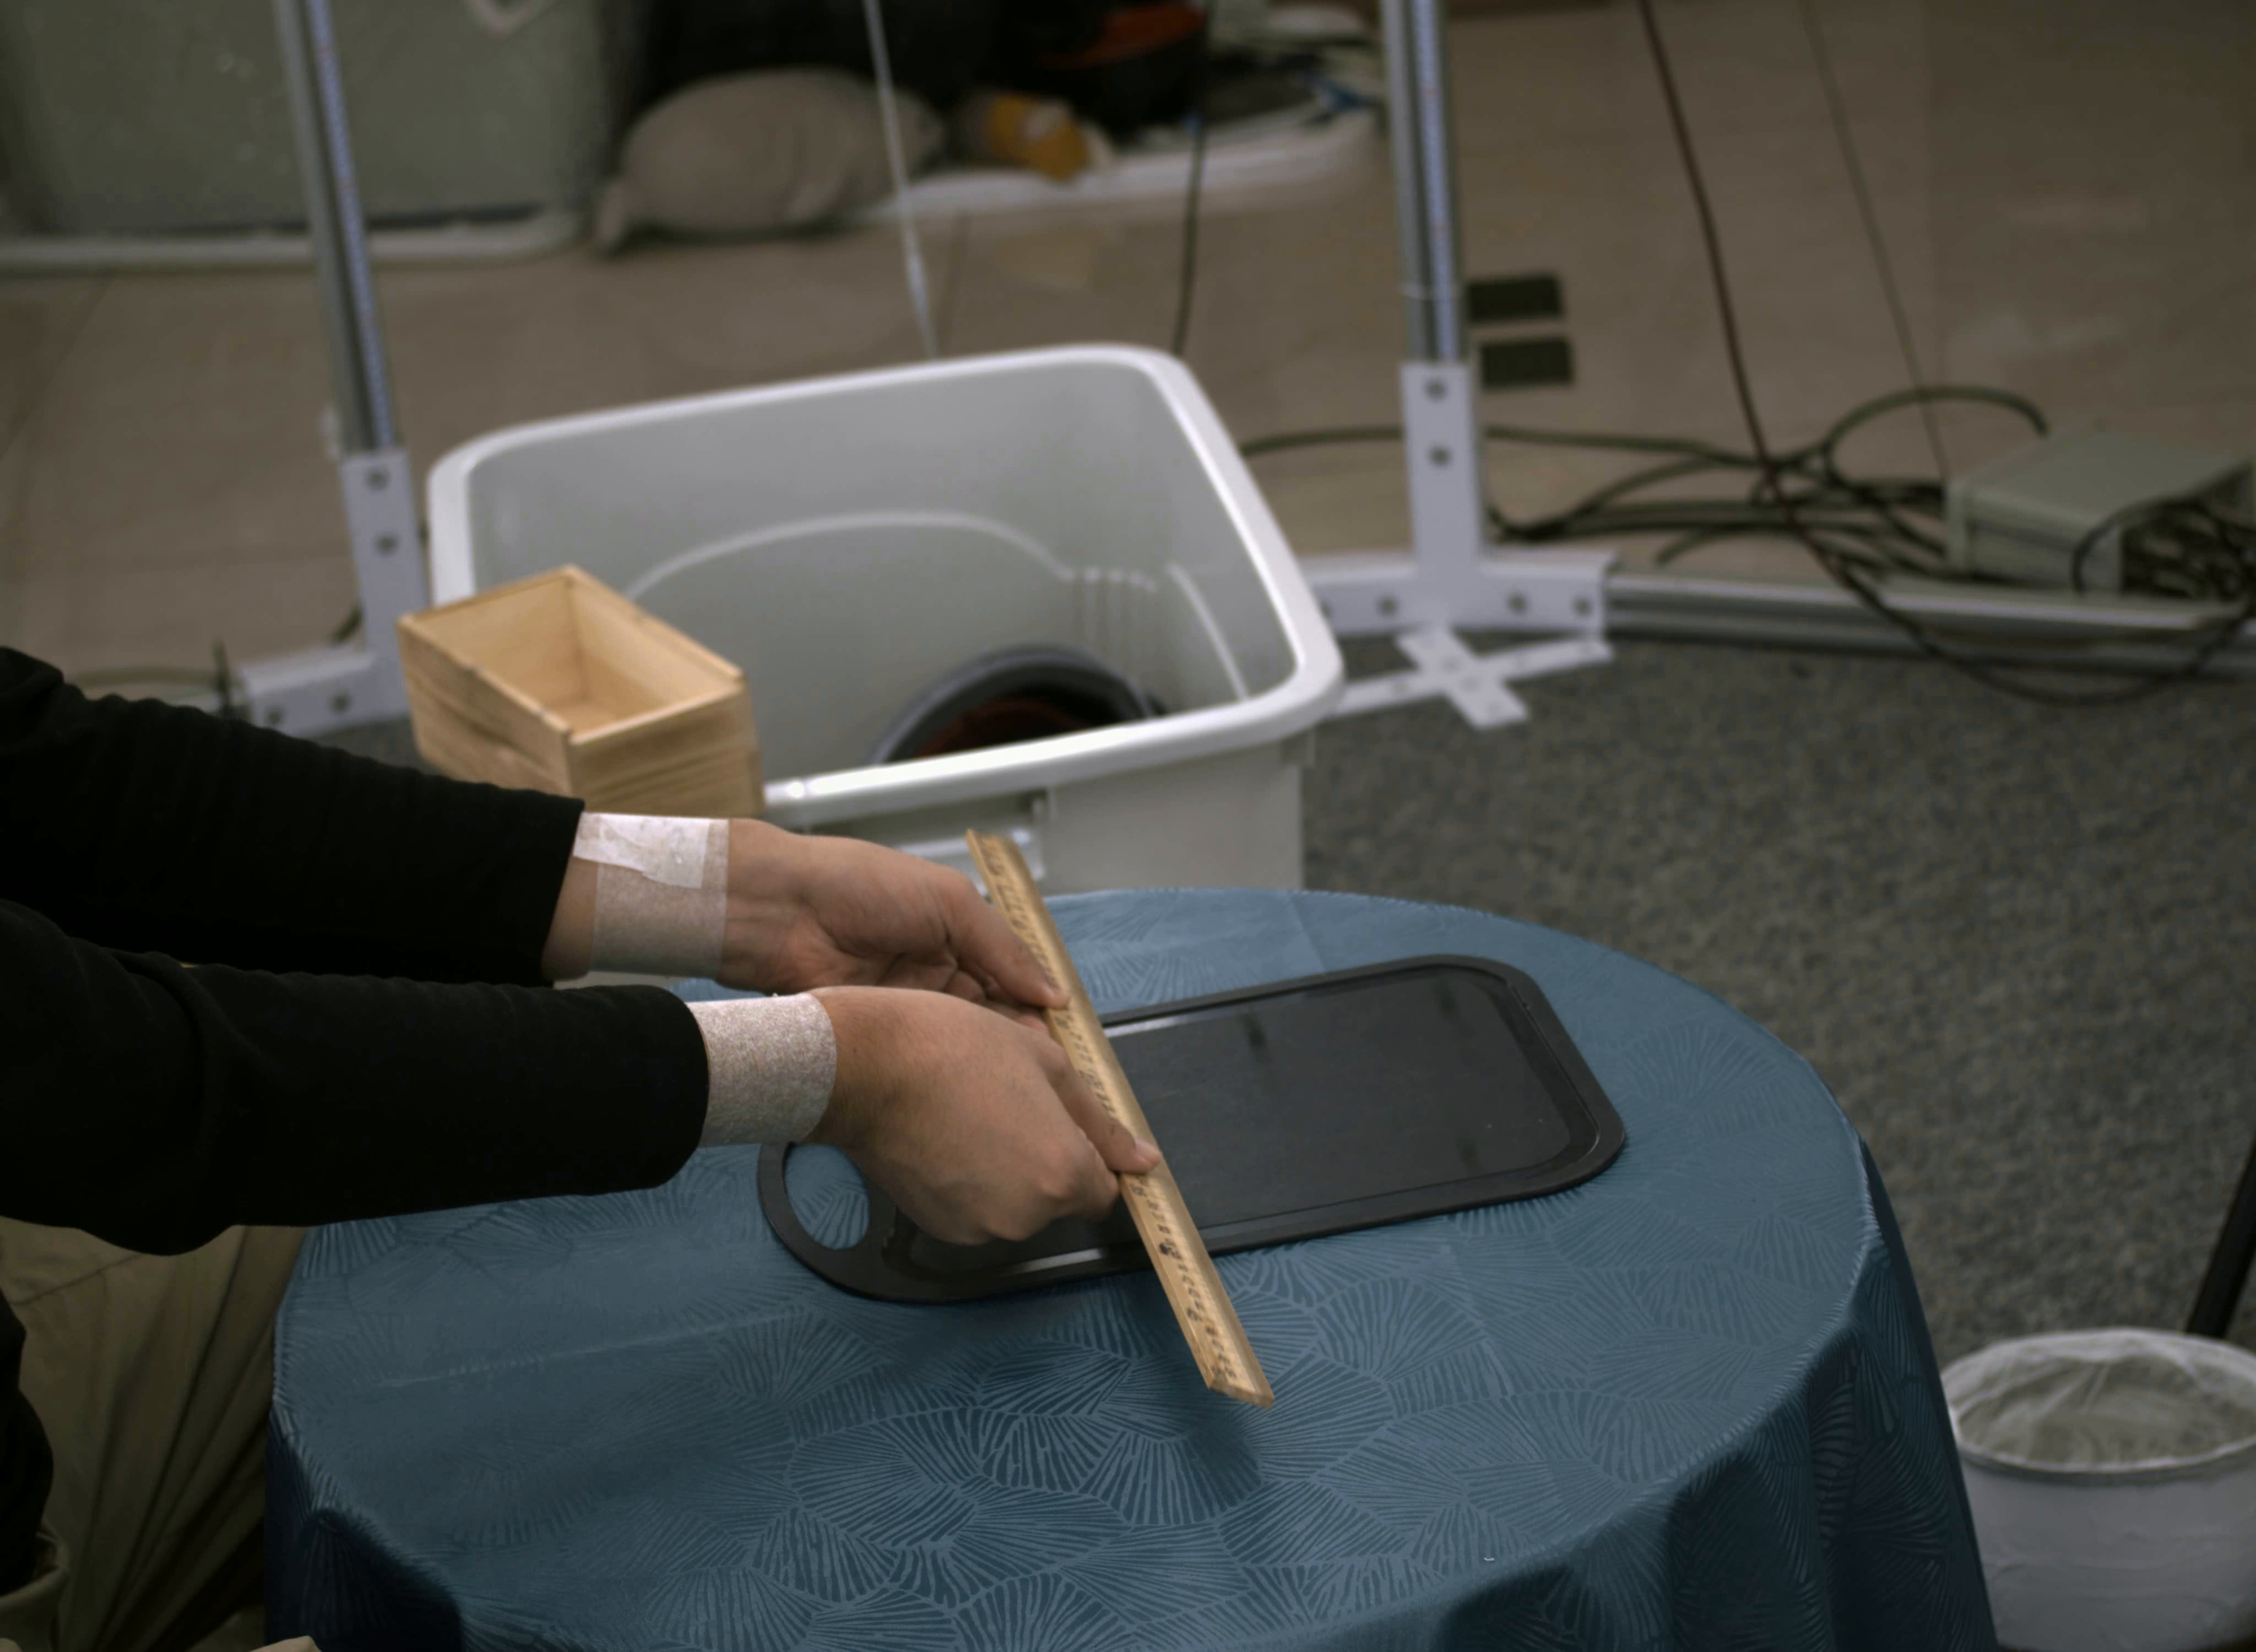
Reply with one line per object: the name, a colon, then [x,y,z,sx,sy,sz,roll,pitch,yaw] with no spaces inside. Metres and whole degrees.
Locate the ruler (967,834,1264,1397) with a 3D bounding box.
ruler: [-0.011,0.099,2.164,0.027,0.006,0.494,20,17,-18]

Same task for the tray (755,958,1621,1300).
tray: [0.018,0.114,2.187,0.325,0.010,0.208,-9,25,-7]
